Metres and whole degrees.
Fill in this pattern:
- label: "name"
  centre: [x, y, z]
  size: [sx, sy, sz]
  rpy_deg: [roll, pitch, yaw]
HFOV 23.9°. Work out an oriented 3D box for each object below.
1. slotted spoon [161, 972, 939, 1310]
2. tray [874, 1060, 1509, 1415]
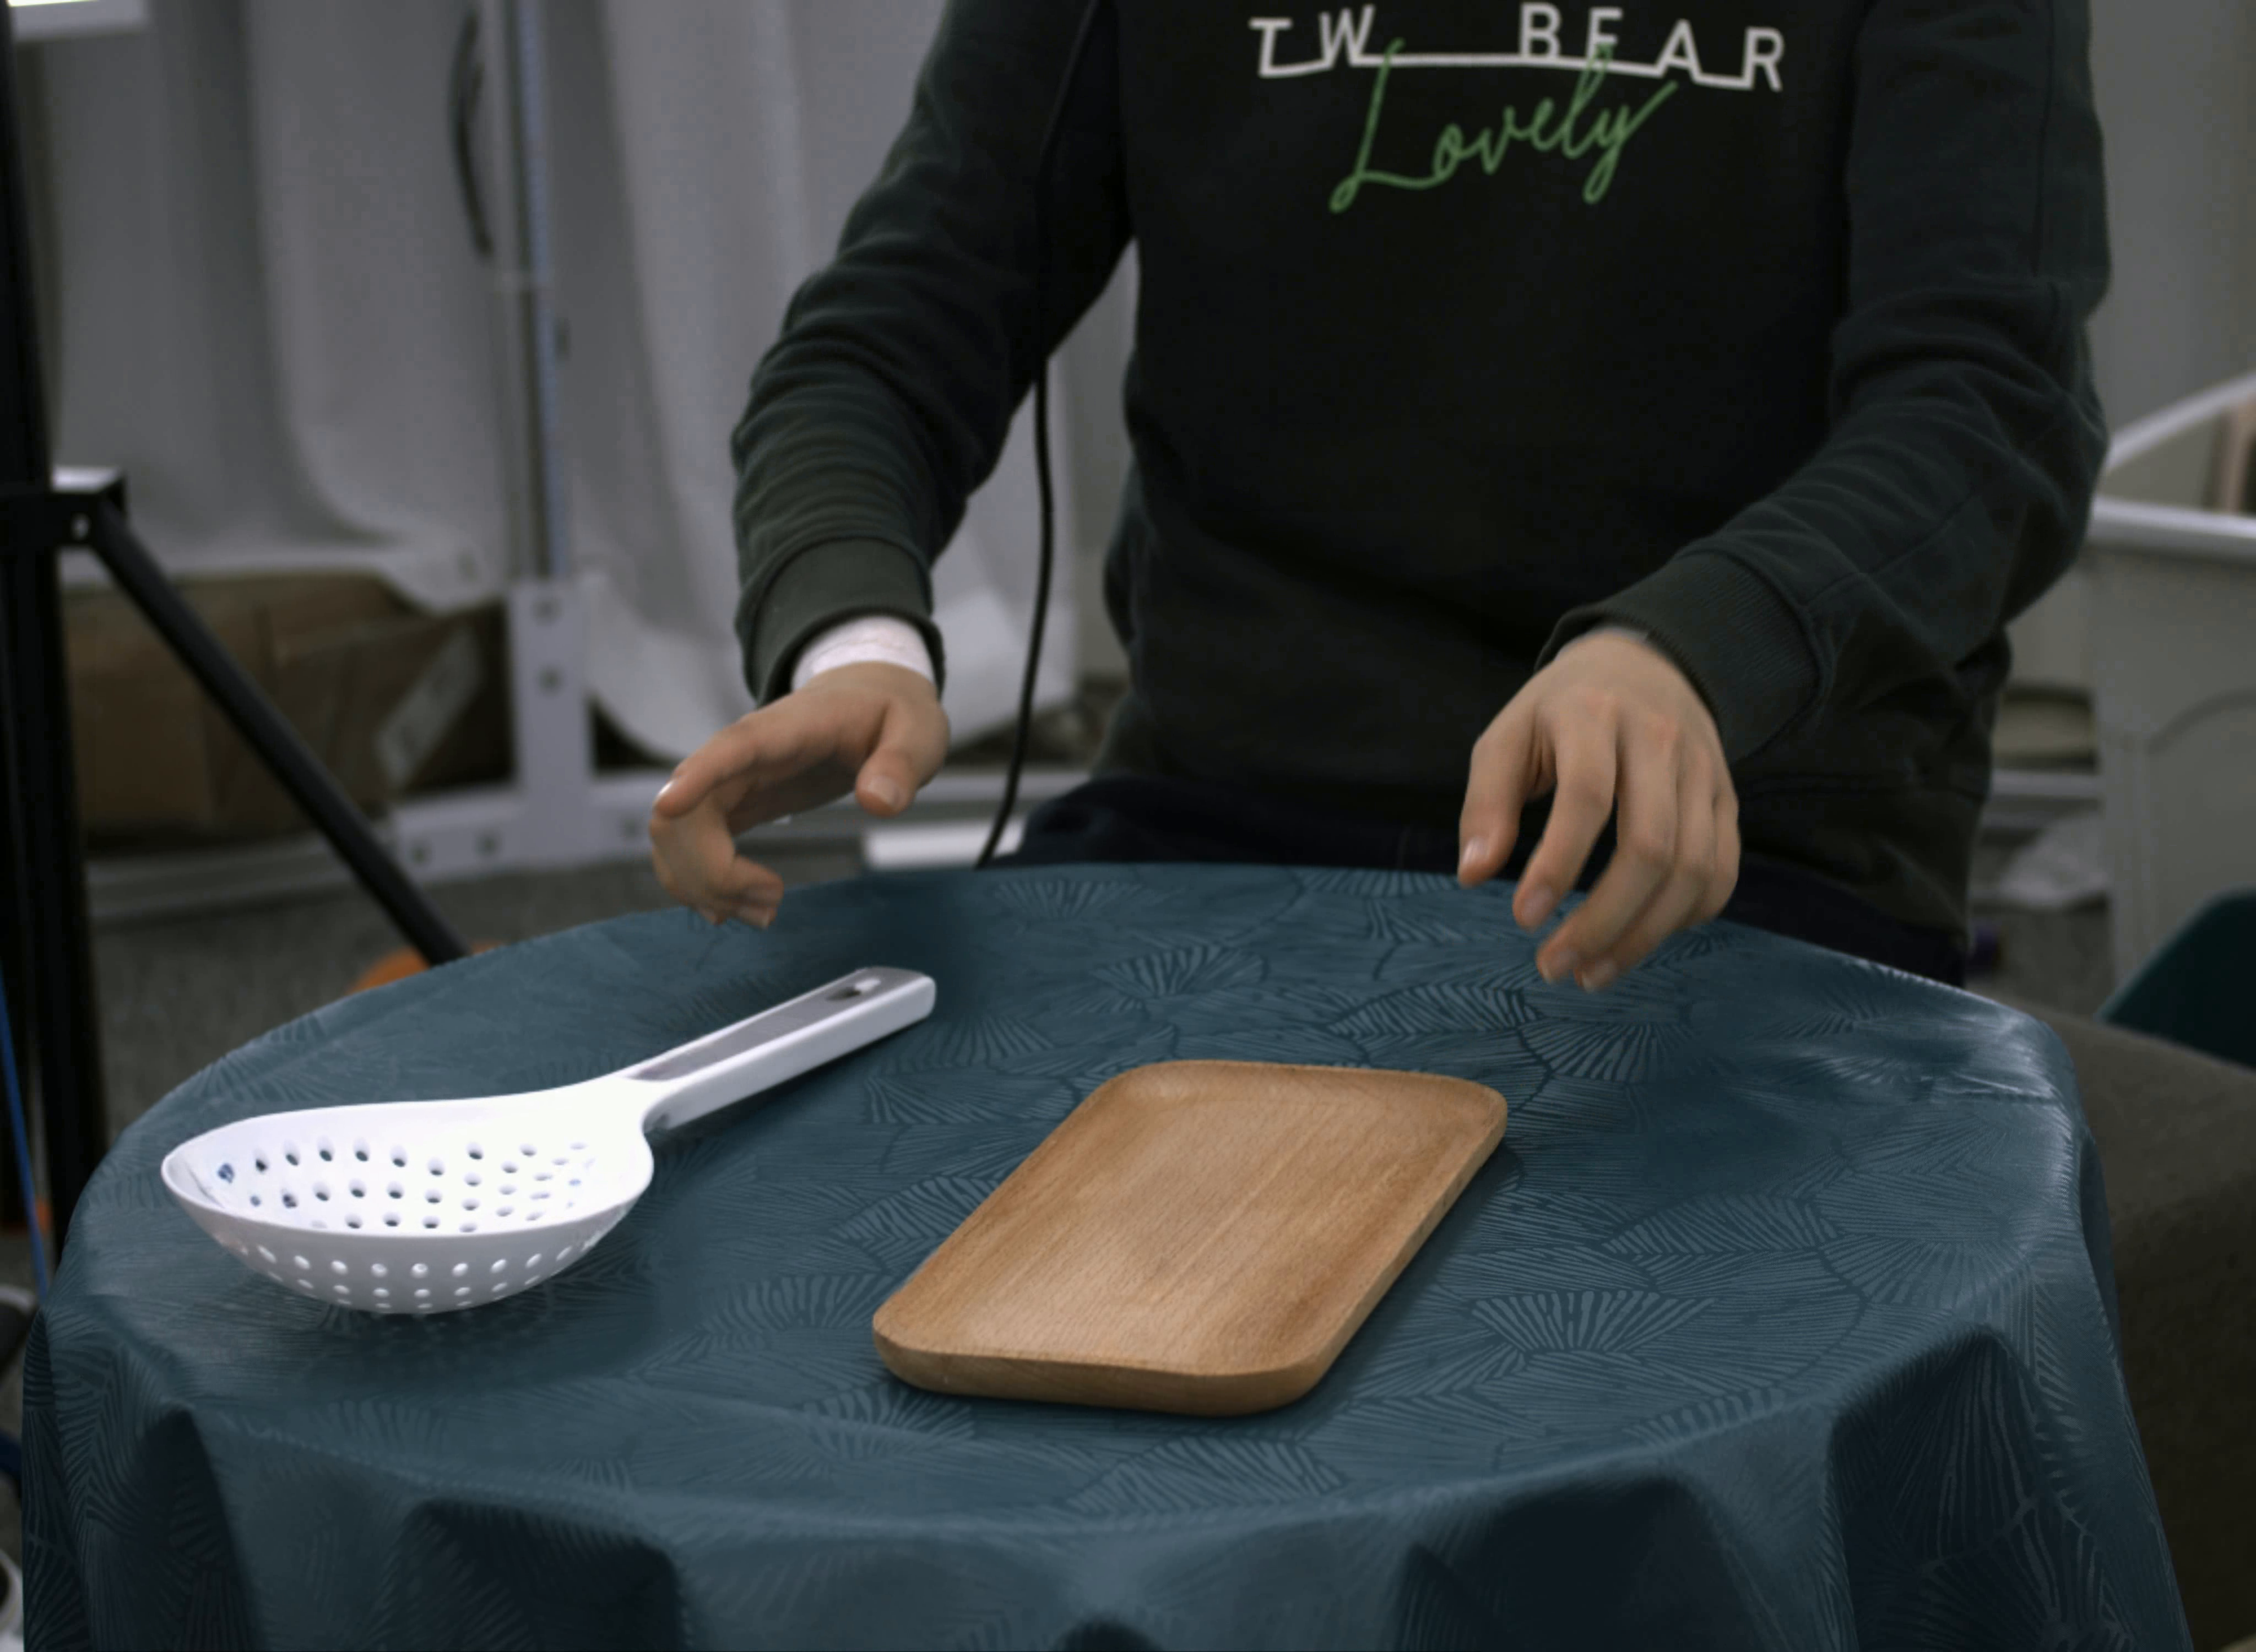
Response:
- label: "slotted spoon"
  centre: [-0.152, 0.084, 1.585]
  size: [0.138, 0.046, 0.344]
  rpy_deg: [9, 19, 27]
- label: "tray"
  centre: [0.023, 0.114, 1.504]
  size: [0.132, 0.023, 0.248]
  rpy_deg: [5, 16, 18]
